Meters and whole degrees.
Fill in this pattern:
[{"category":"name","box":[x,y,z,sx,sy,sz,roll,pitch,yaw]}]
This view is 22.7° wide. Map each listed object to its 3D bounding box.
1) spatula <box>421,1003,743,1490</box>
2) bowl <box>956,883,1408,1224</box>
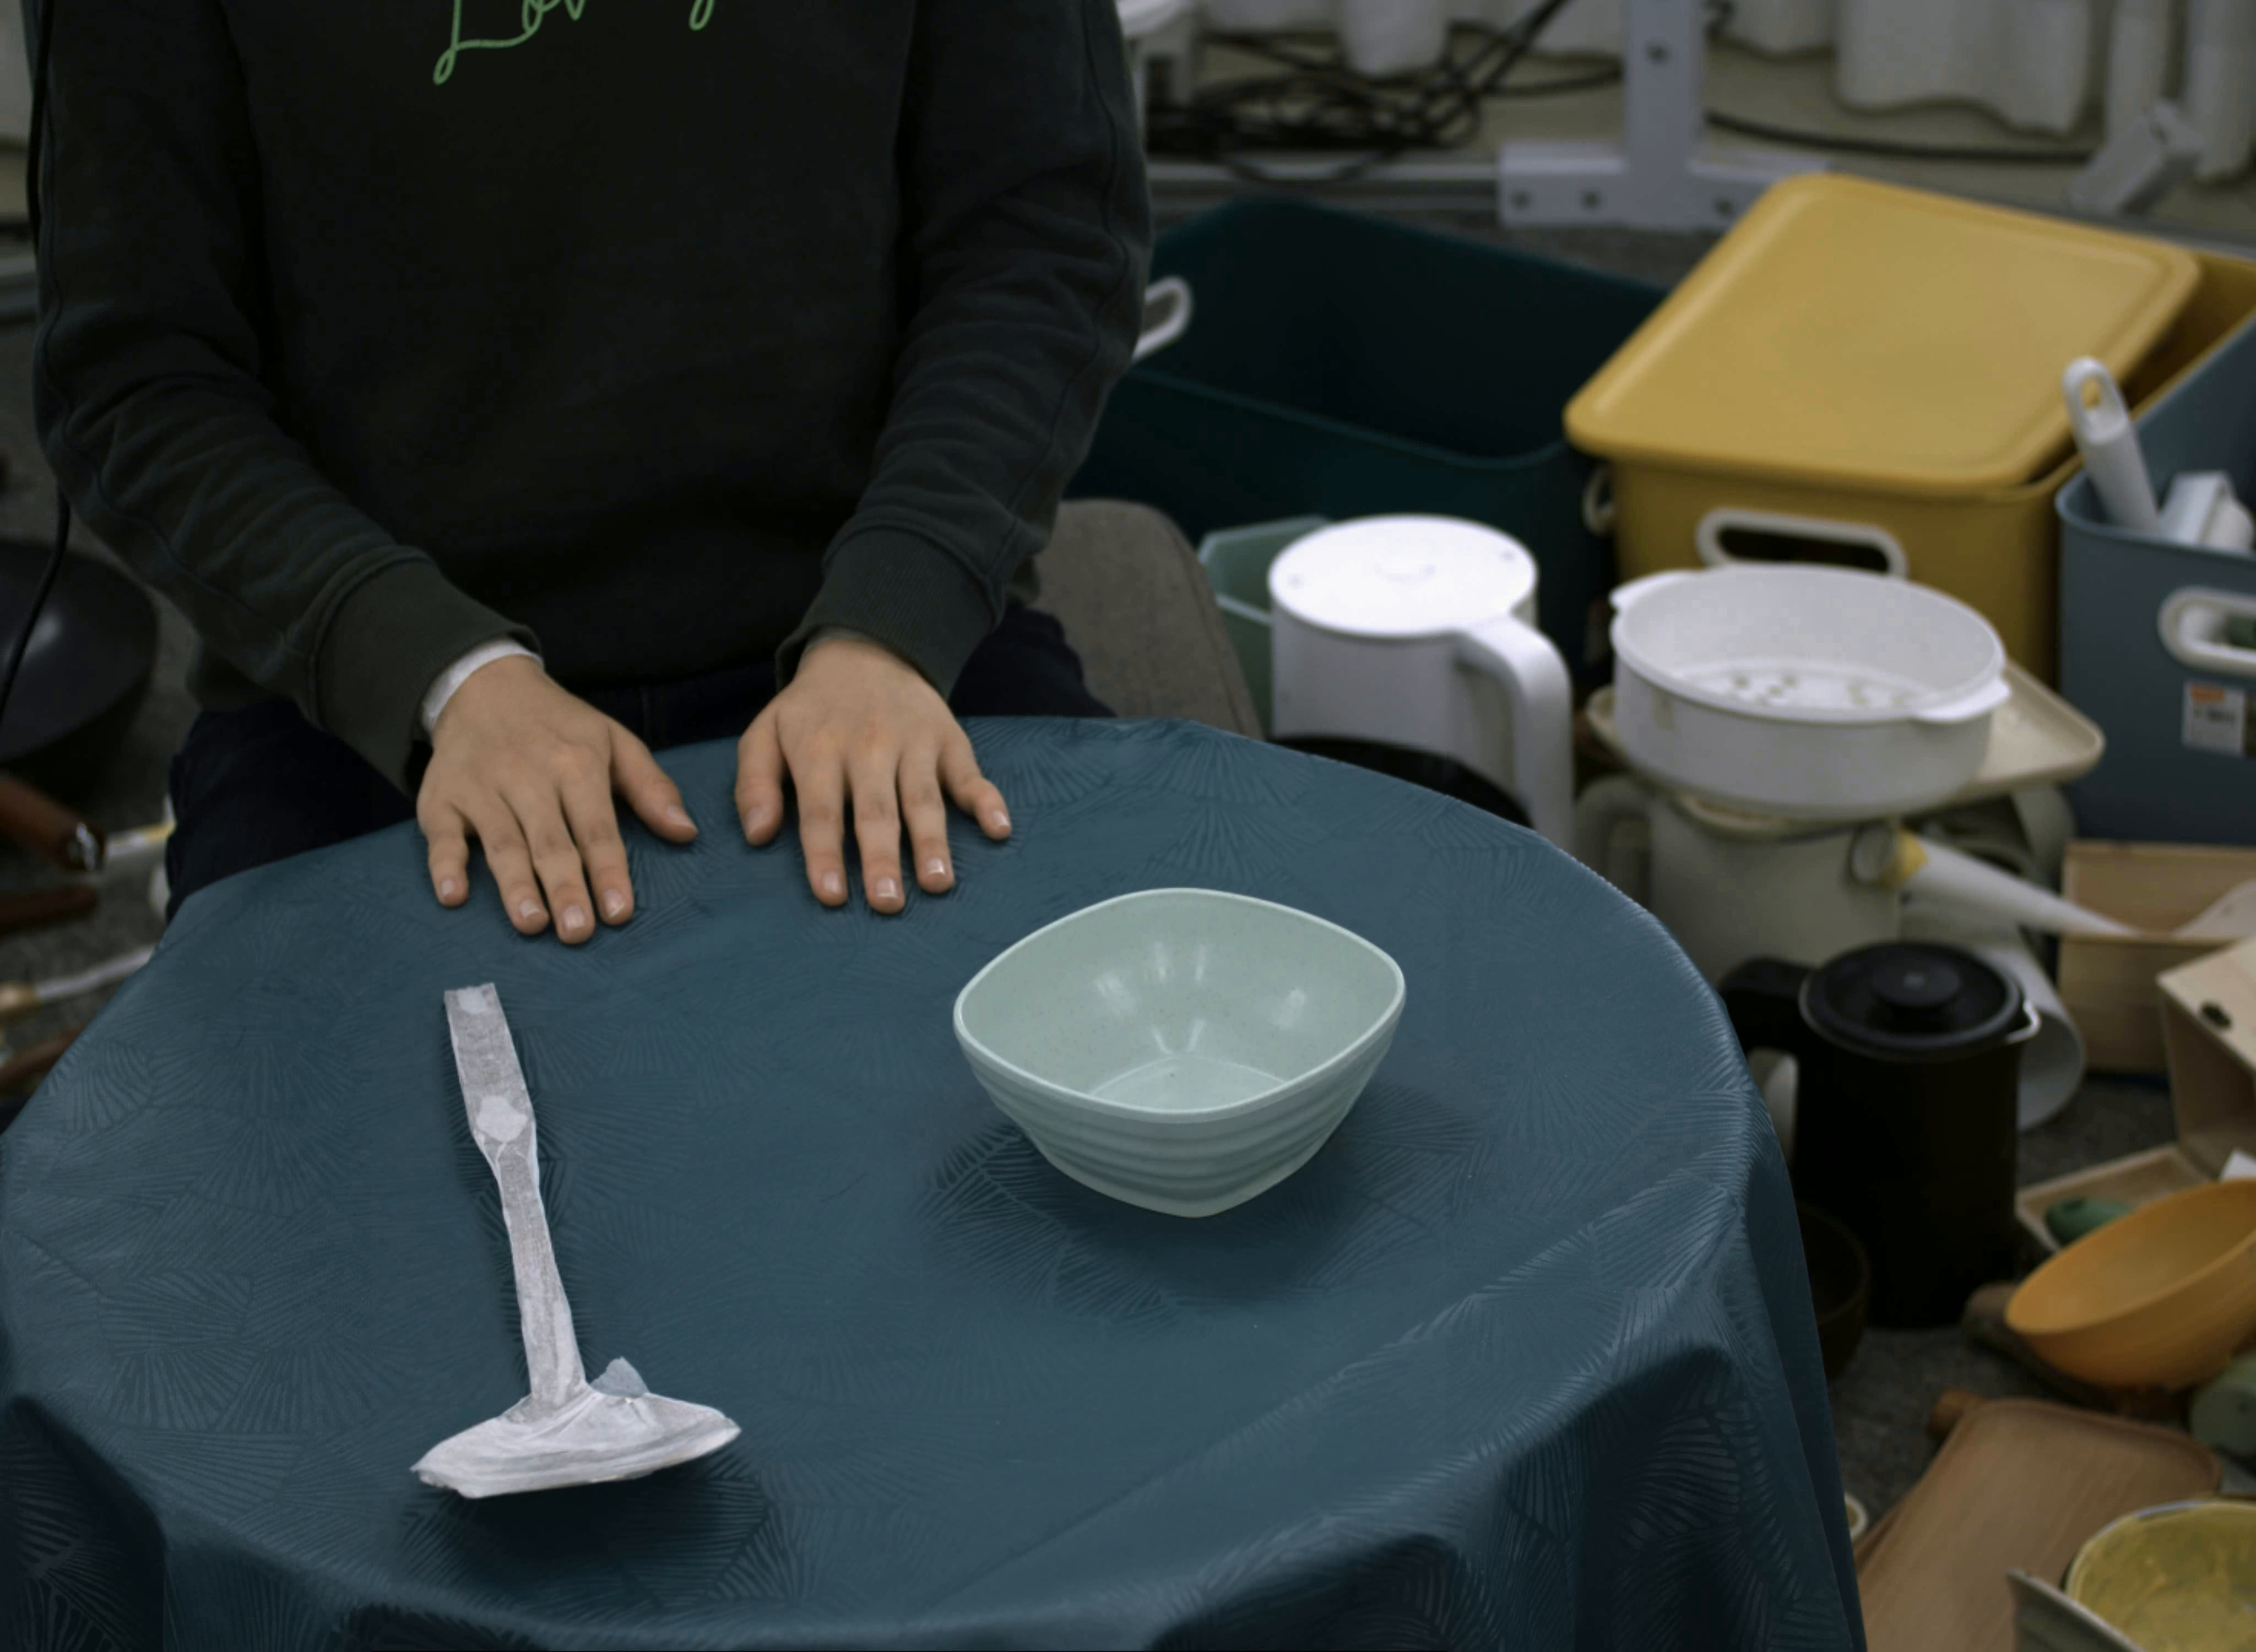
[{"category":"spatula","box":[-0.191,0.128,1.825,0.098,0.044,0.369,-9,28,-7]},{"category":"bowl","box":[0.019,0.082,1.877,0.151,0.058,0.154,-1,29,1]}]
